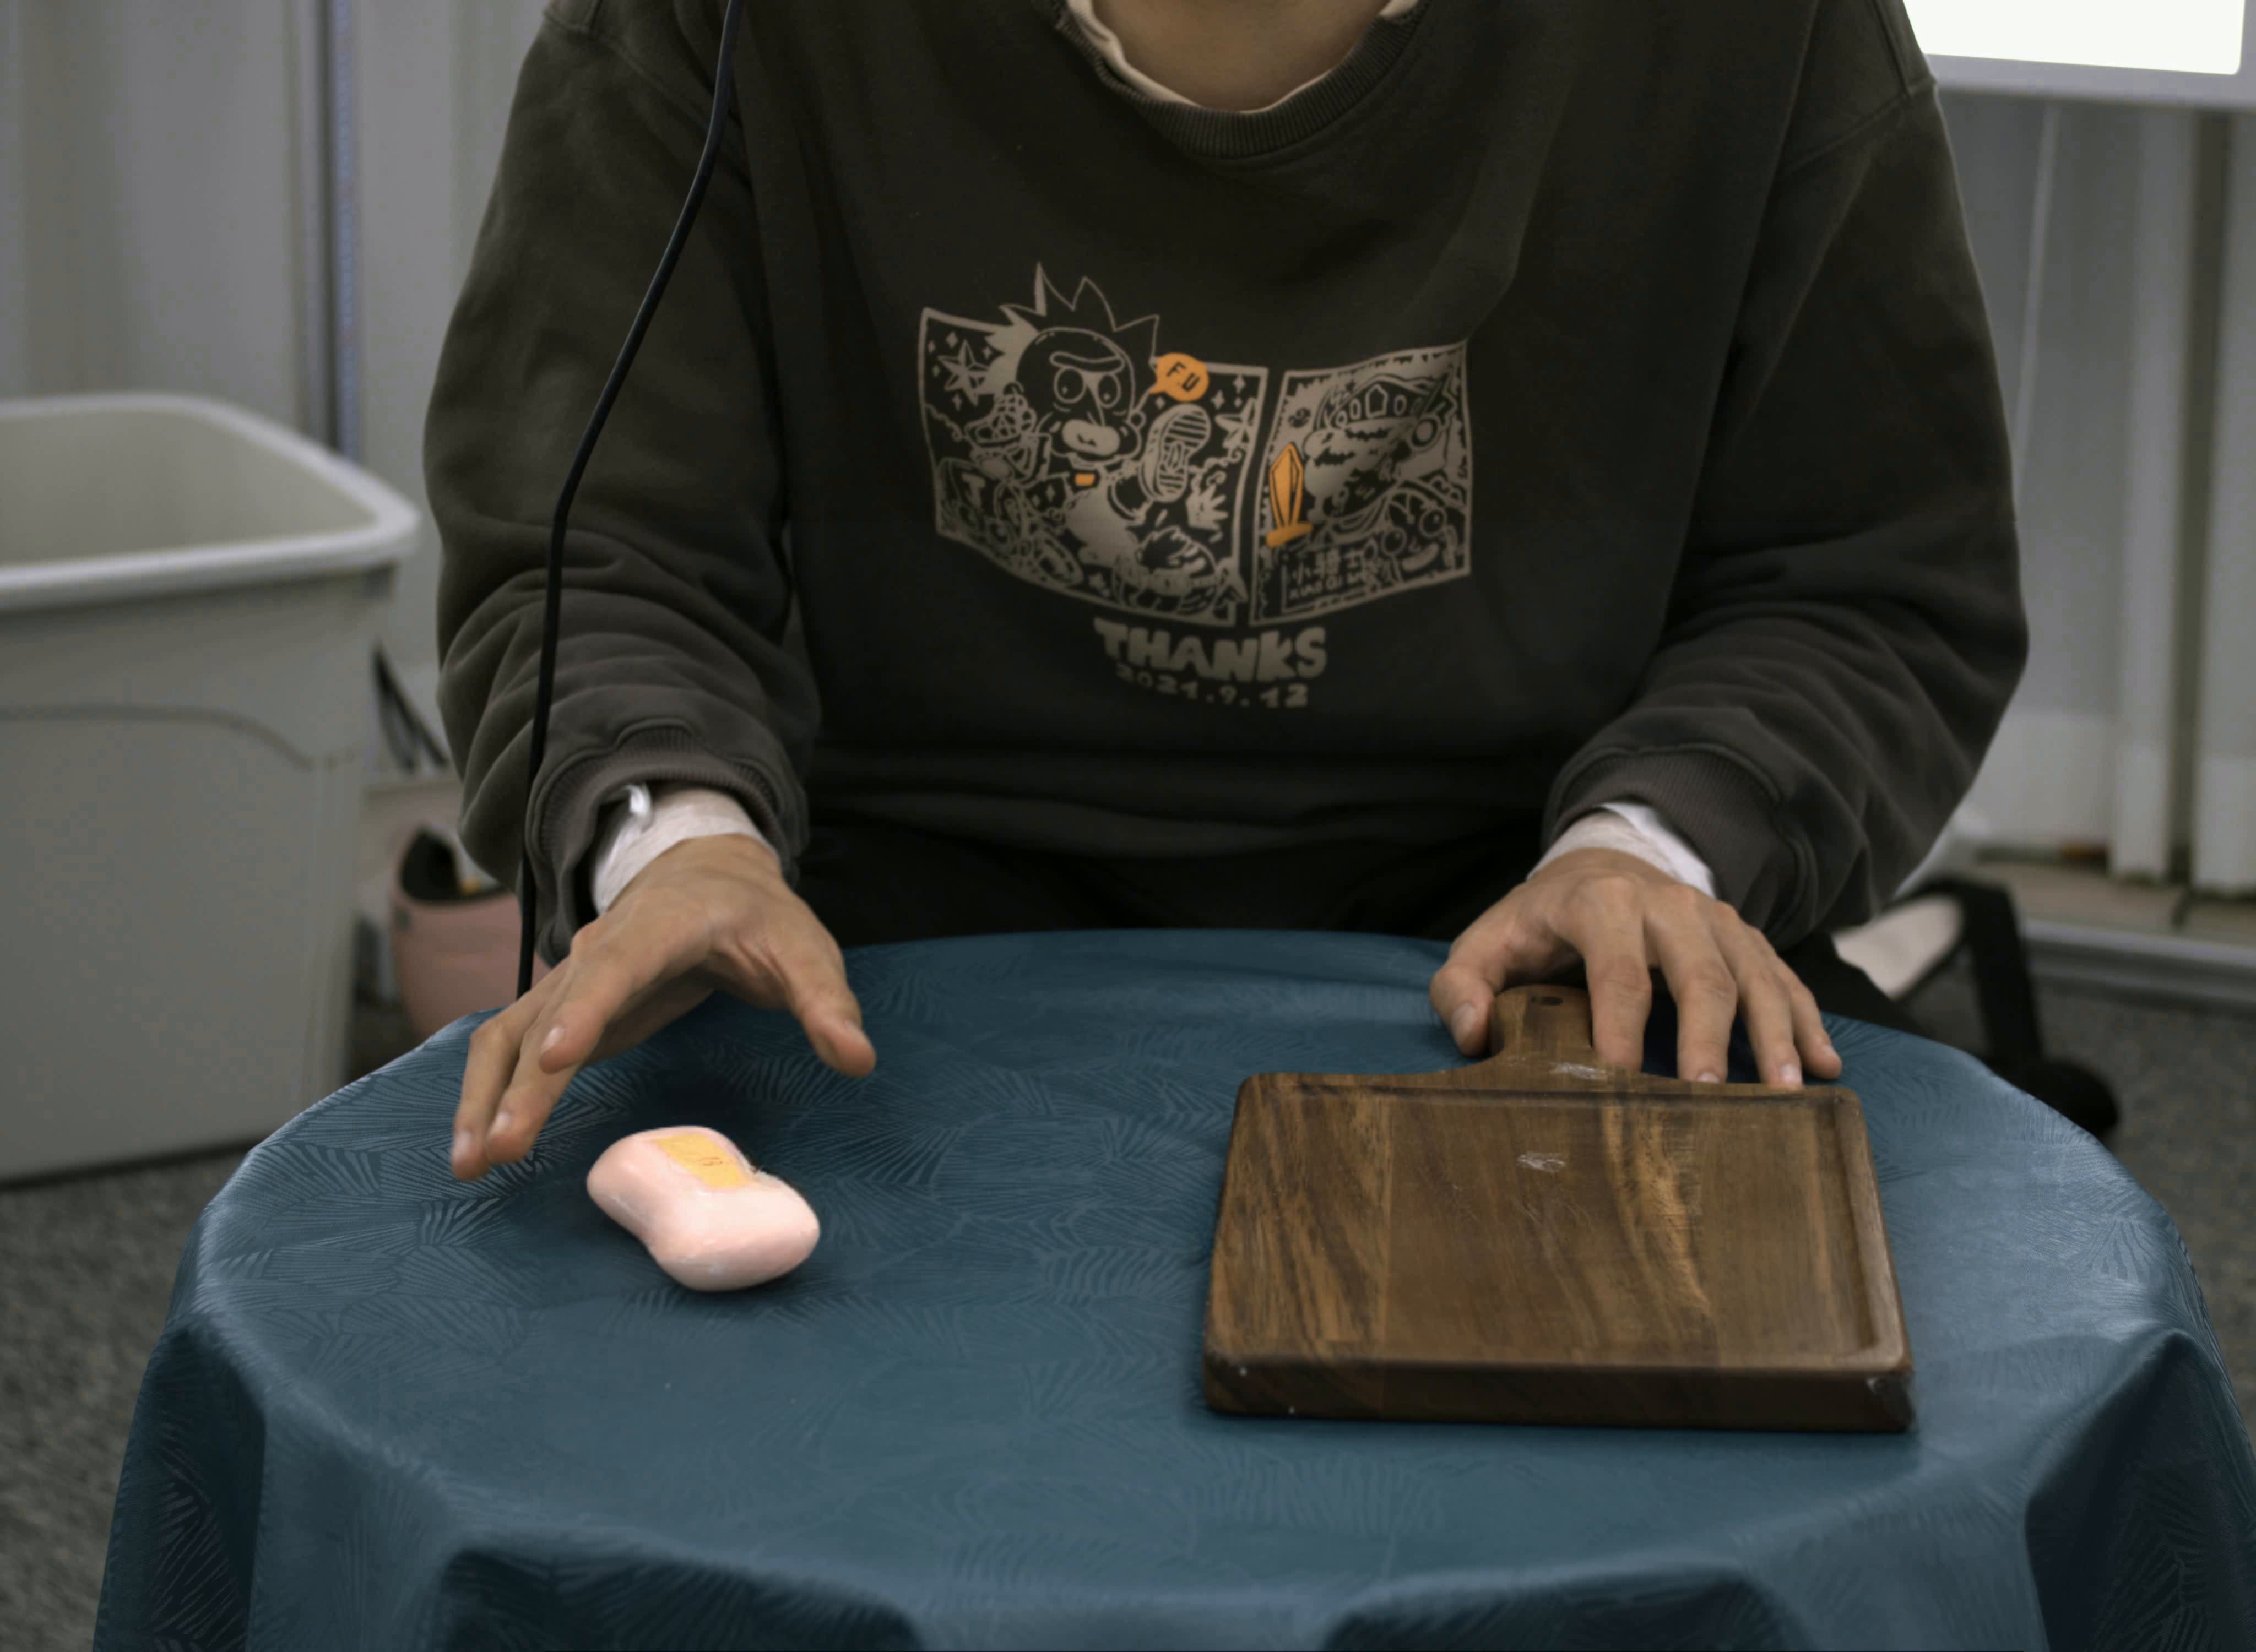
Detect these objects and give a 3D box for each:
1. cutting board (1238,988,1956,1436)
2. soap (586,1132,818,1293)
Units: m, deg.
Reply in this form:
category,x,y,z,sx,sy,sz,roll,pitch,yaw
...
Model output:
category,x,y,z,sx,sy,sz,roll,pitch,yaw
cutting board,0.140,0.110,1.605,0.200,0.023,0.351,2,15,4
soap,-0.127,0.114,1.567,0.050,0.030,0.093,-5,15,-23
